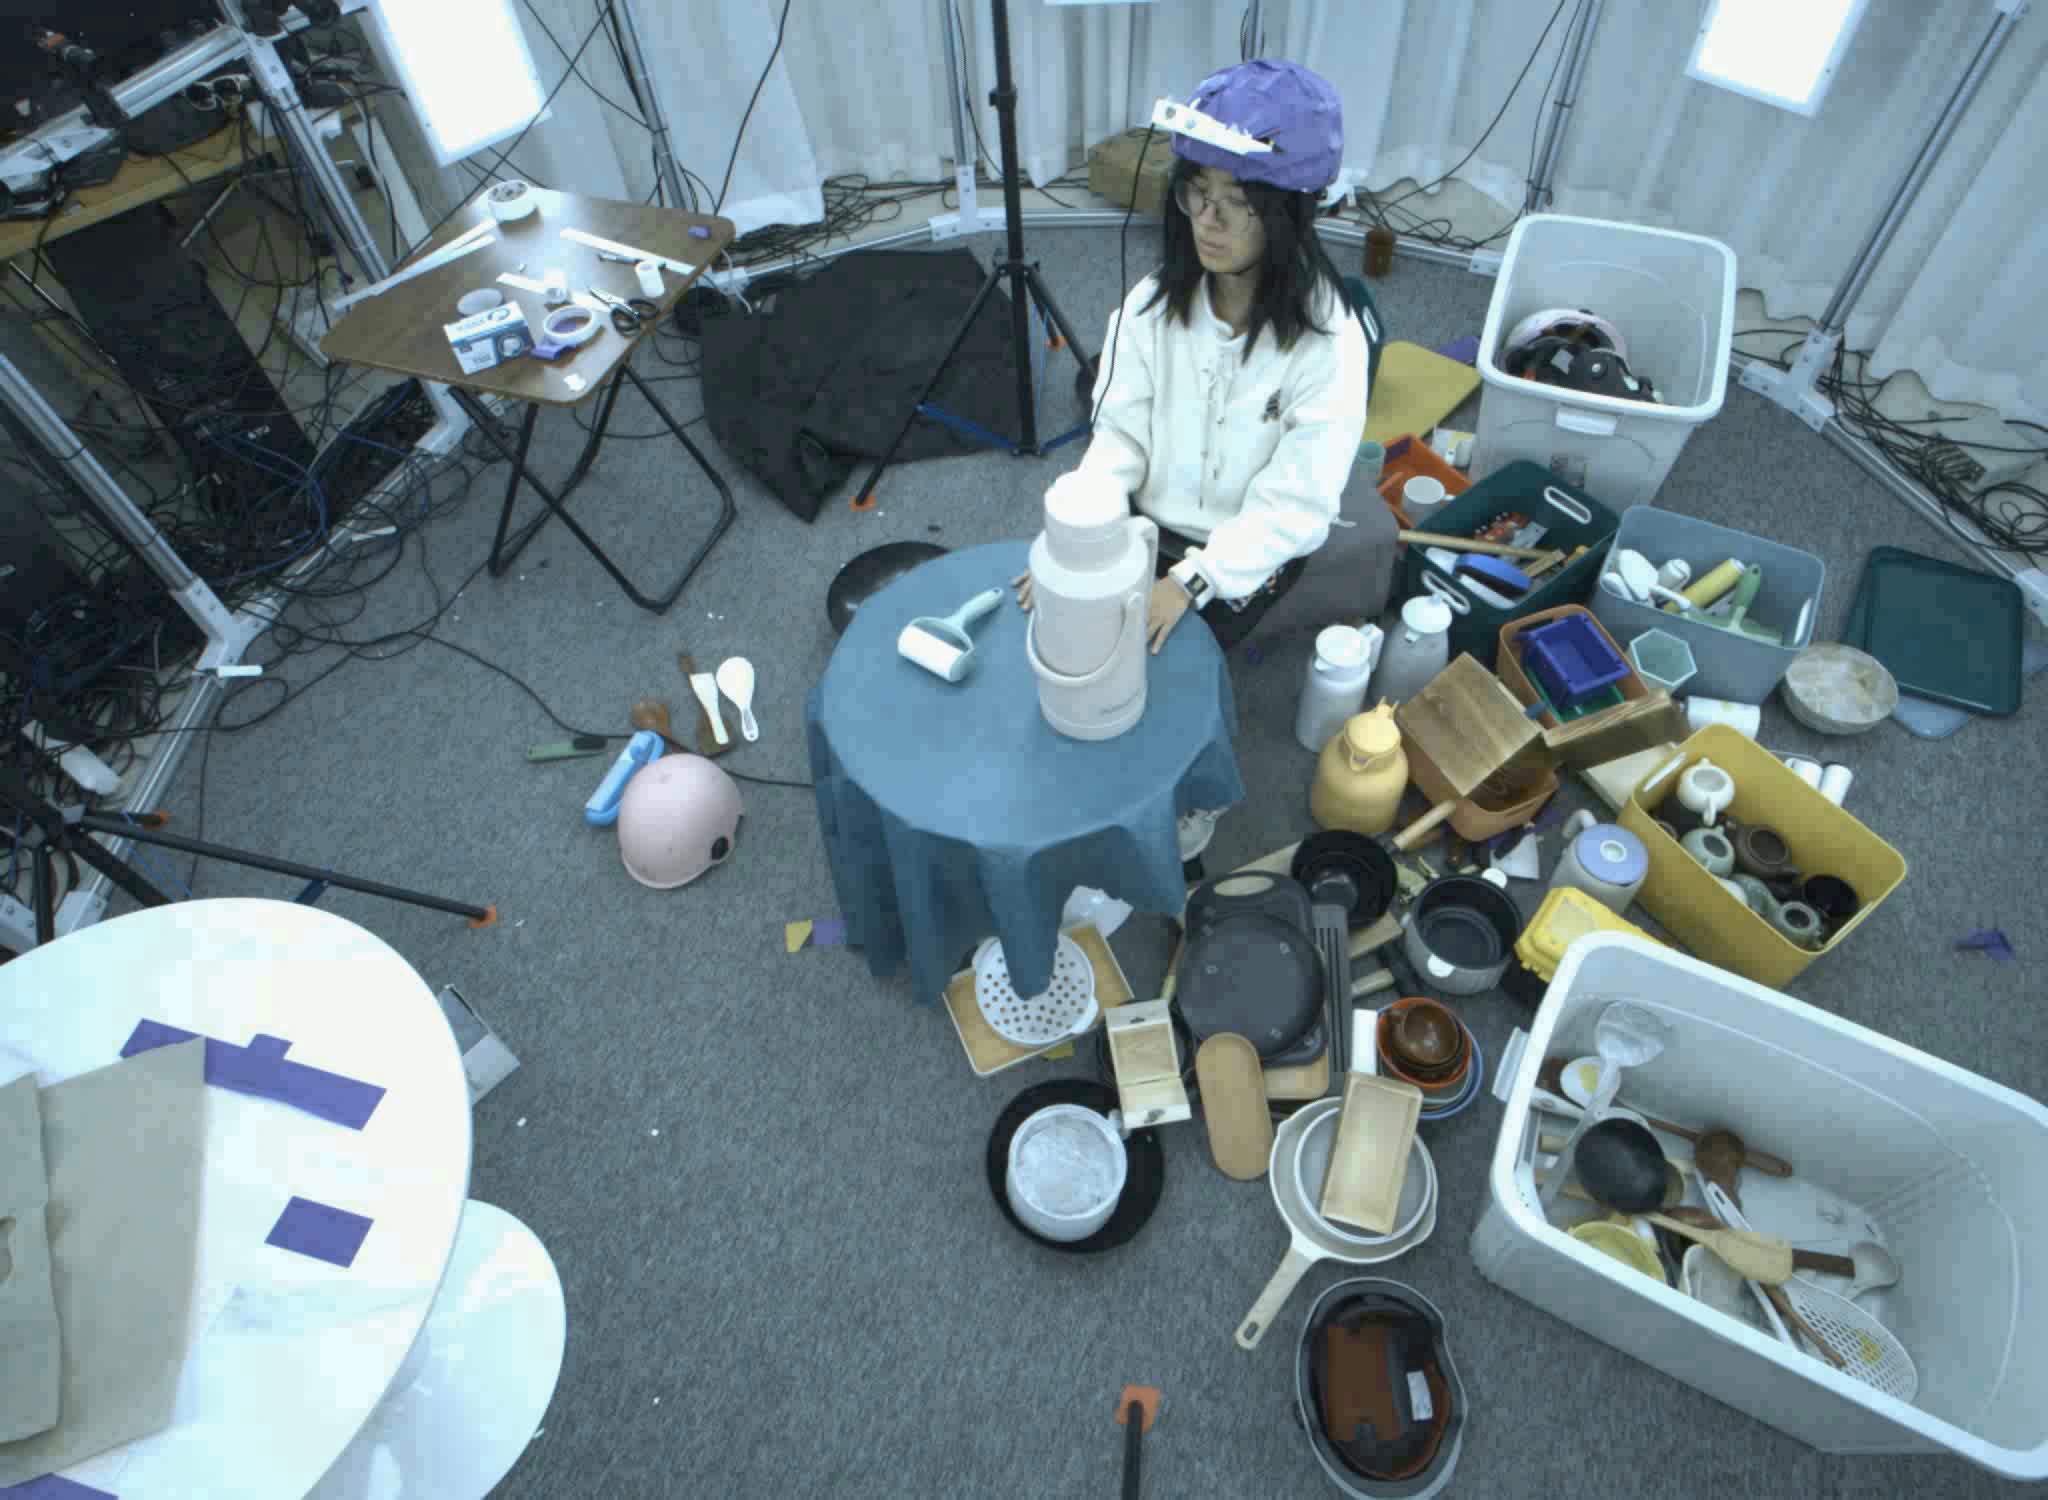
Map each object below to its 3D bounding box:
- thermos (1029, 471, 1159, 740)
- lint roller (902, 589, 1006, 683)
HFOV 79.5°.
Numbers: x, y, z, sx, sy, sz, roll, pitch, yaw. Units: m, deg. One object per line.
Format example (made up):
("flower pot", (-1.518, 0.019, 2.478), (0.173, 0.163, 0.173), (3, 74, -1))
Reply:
("thermos", (0.101, -0.201, 1.682), (0.208, 0.411, 0.172), (-37, 60, -21))
("lint roller", (-0.089, -0.192, 1.898), (0.114, 0.049, 0.198), (29, 61, 23))
